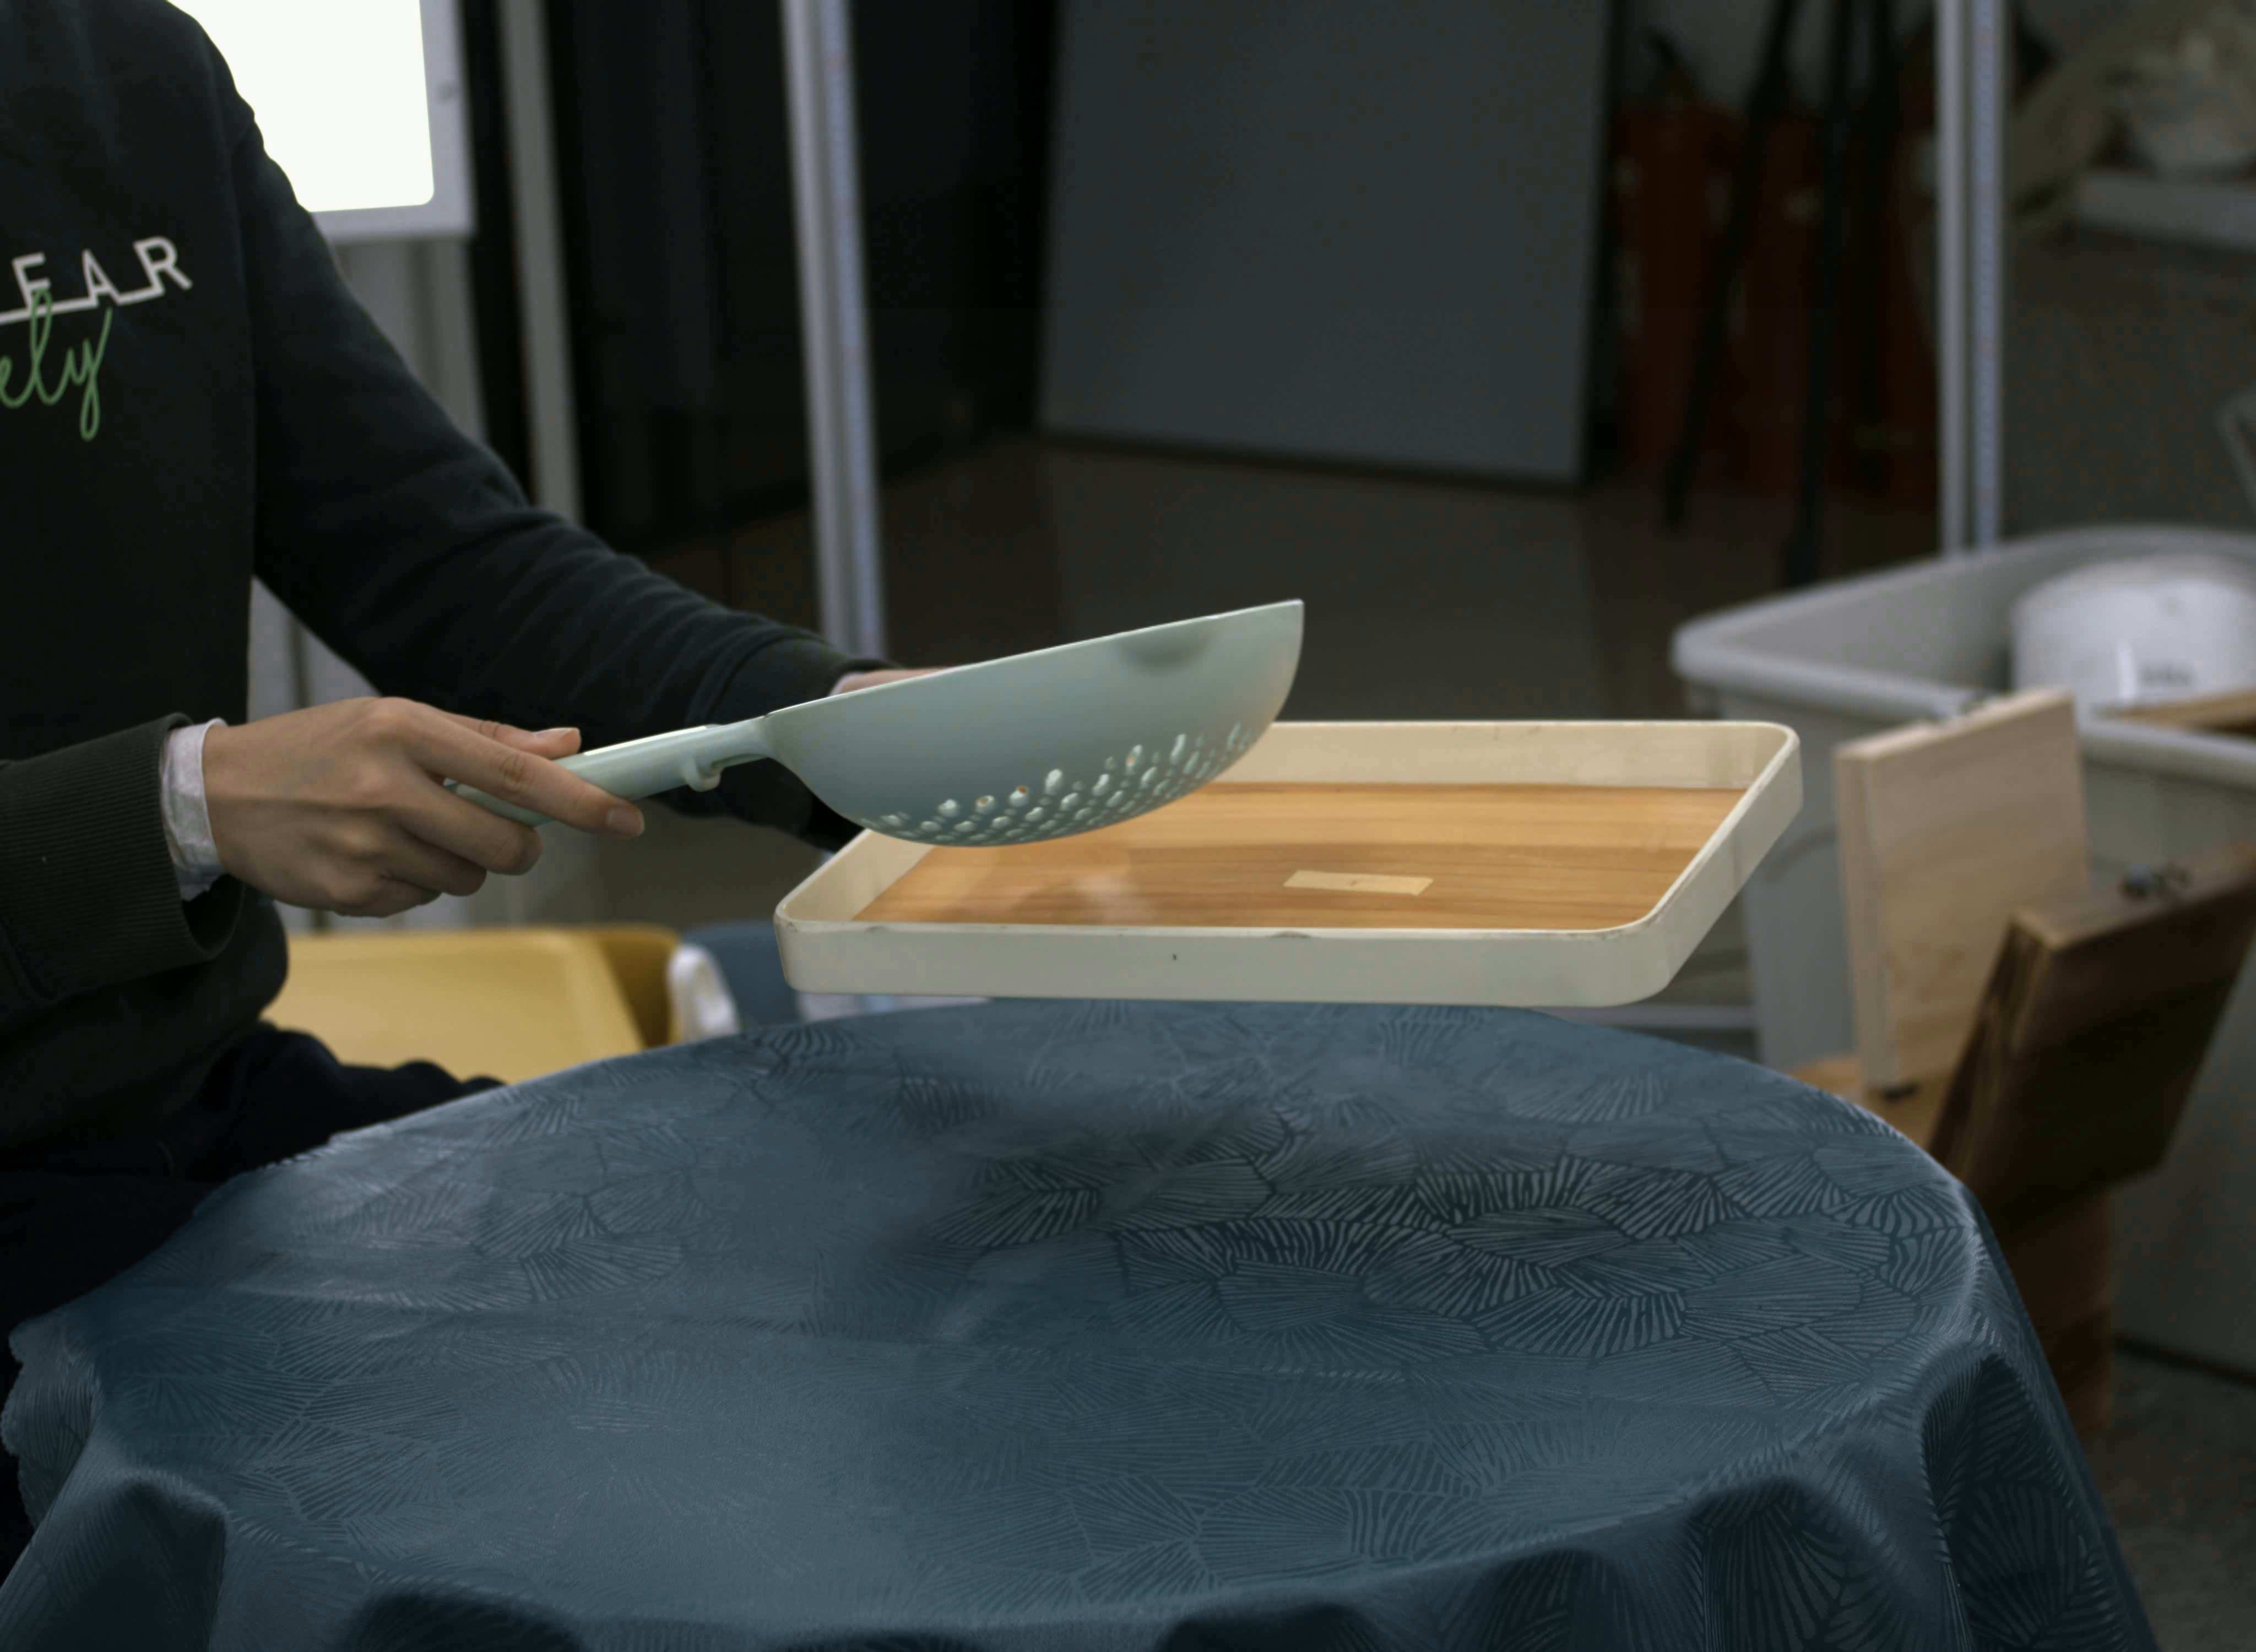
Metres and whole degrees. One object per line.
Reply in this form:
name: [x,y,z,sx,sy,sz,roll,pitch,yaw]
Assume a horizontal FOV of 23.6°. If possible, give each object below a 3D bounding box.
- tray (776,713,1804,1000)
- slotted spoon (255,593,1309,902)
tray: [0.054,0.009,1.734,0.300,0.027,0.189,0,21,25]
slotted spoon: [-0.115,-0.023,1.697,0.358,0.076,0.167,-3,1,18]
